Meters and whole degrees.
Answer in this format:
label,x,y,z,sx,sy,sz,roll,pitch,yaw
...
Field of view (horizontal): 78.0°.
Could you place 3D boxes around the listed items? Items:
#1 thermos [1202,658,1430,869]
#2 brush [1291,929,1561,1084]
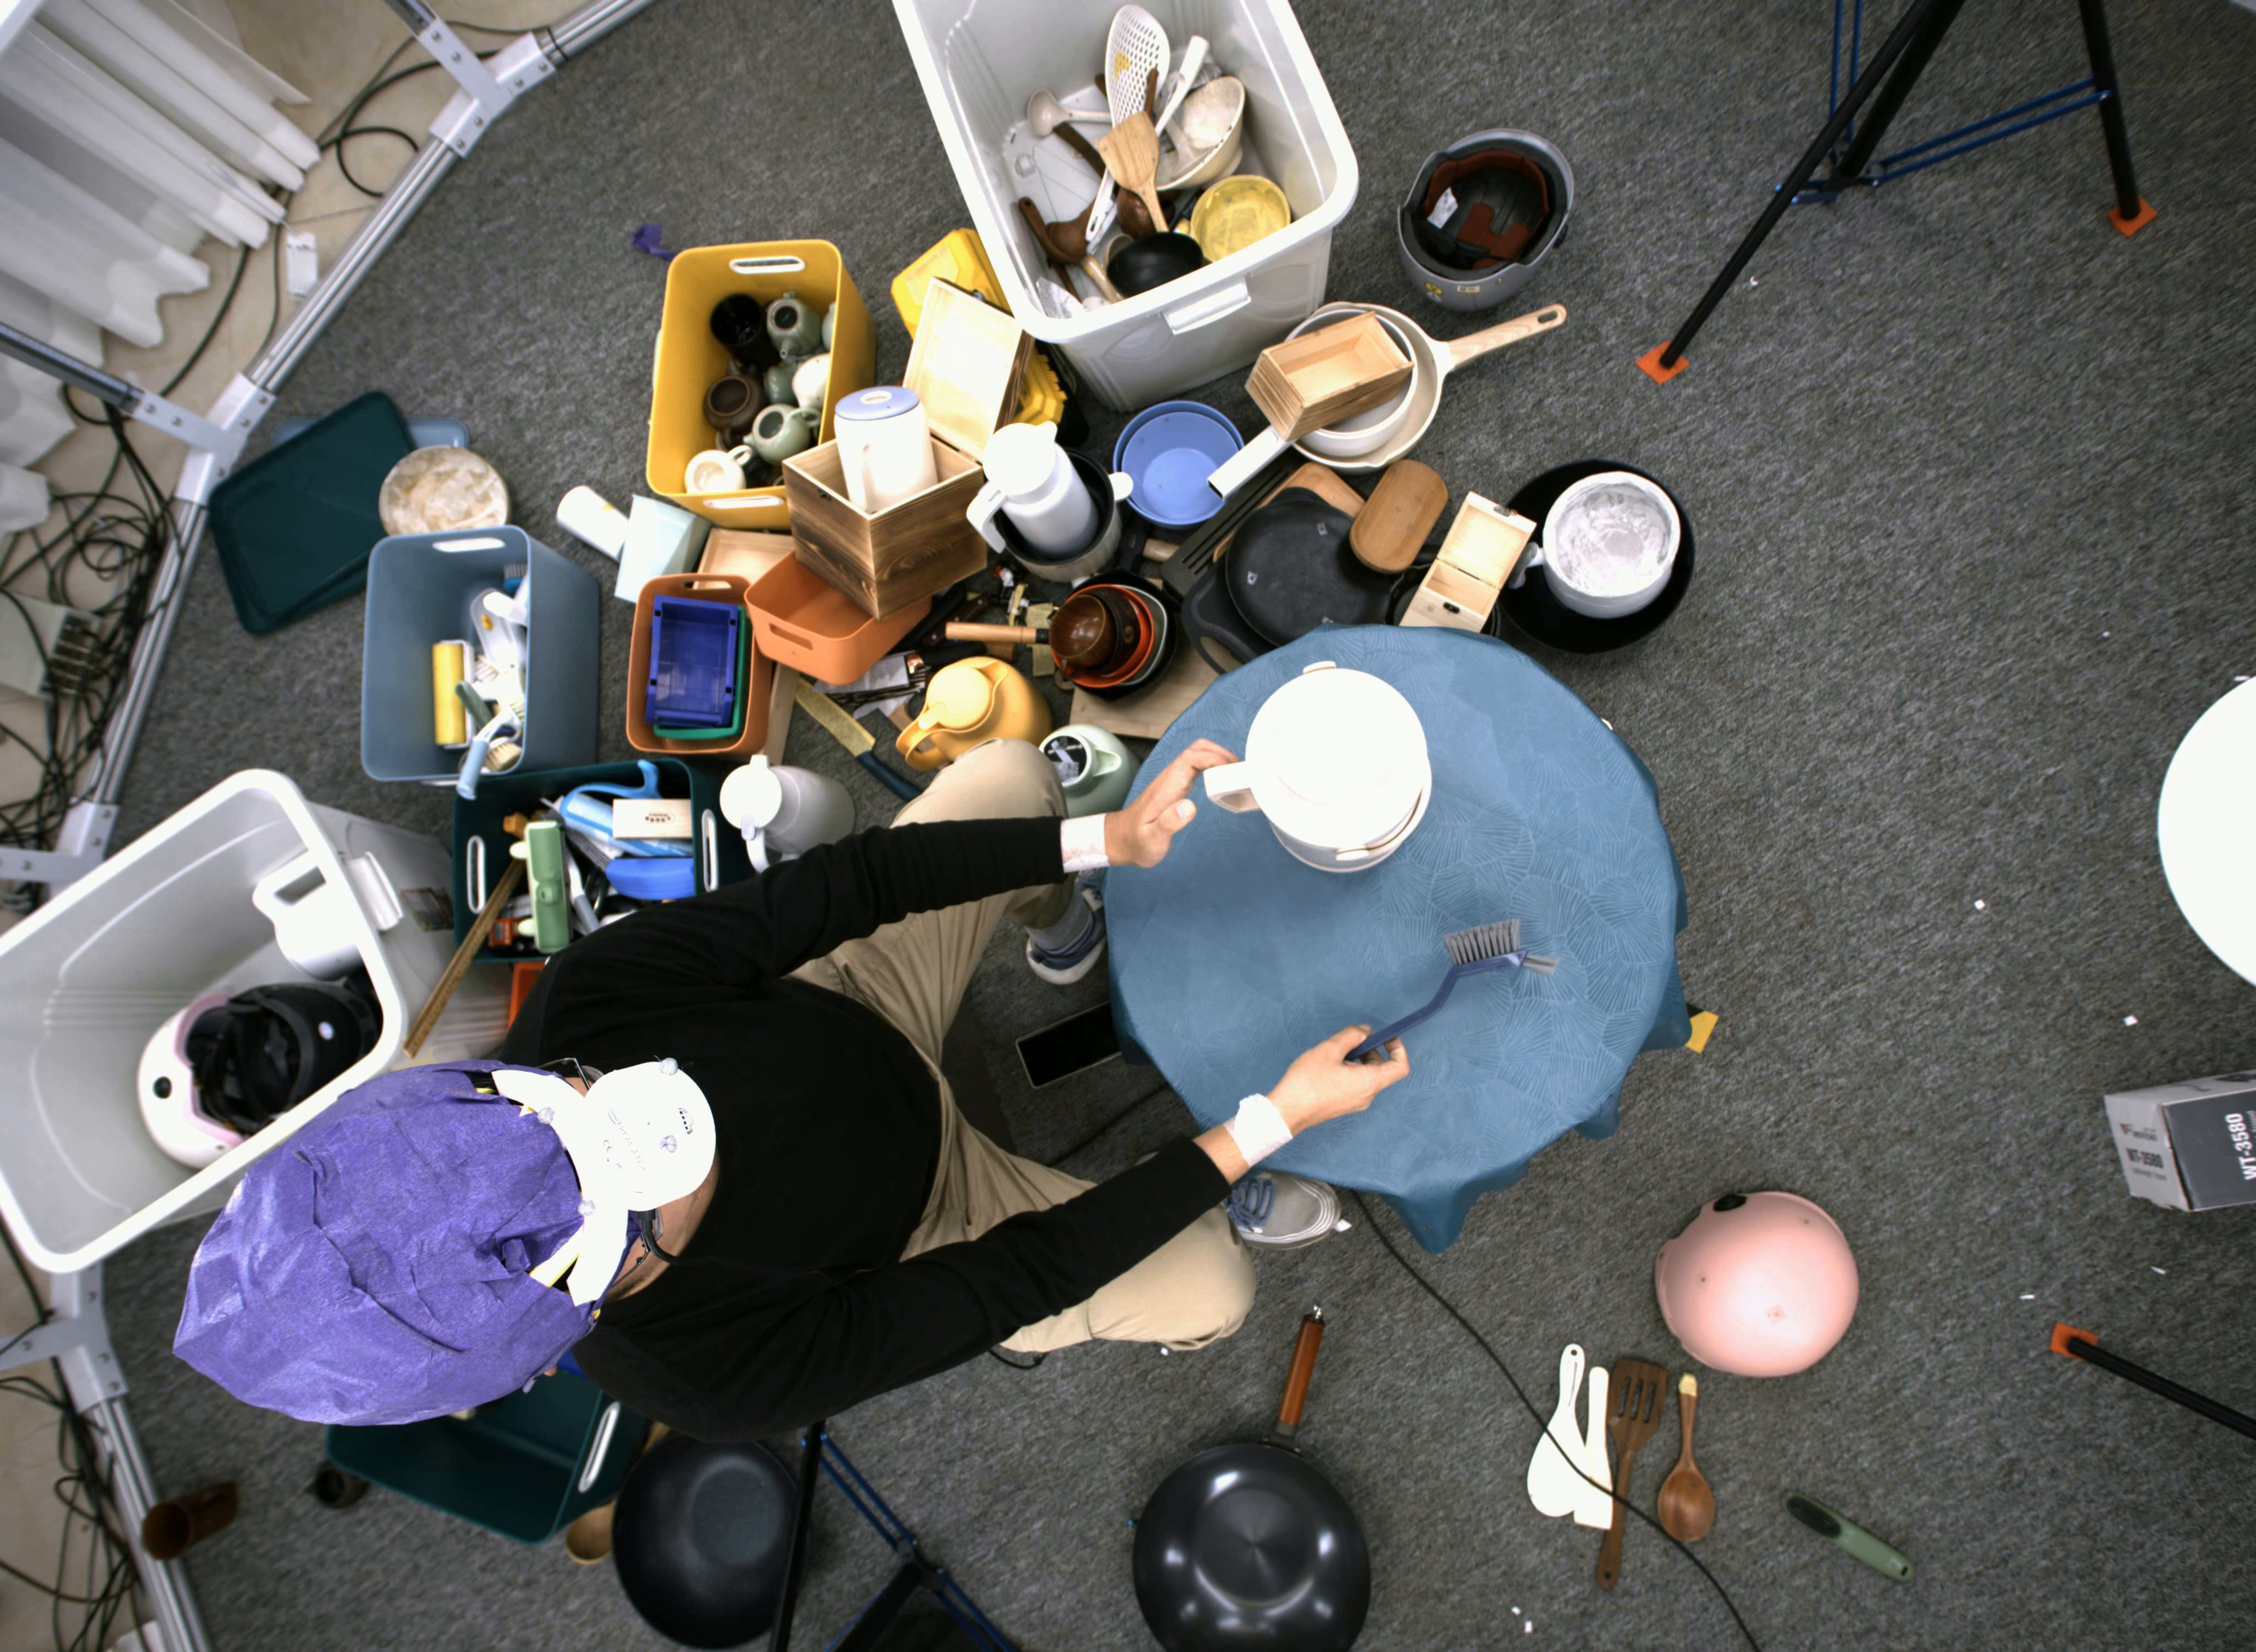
label,x,y,z,sx,sy,sz,roll,pitch,yaw
thermos,0.179,-0.051,1.283,0.208,0.406,0.174,-11,84,8
brush,0.287,0.191,1.351,0.274,0.033,0.095,-38,76,4
